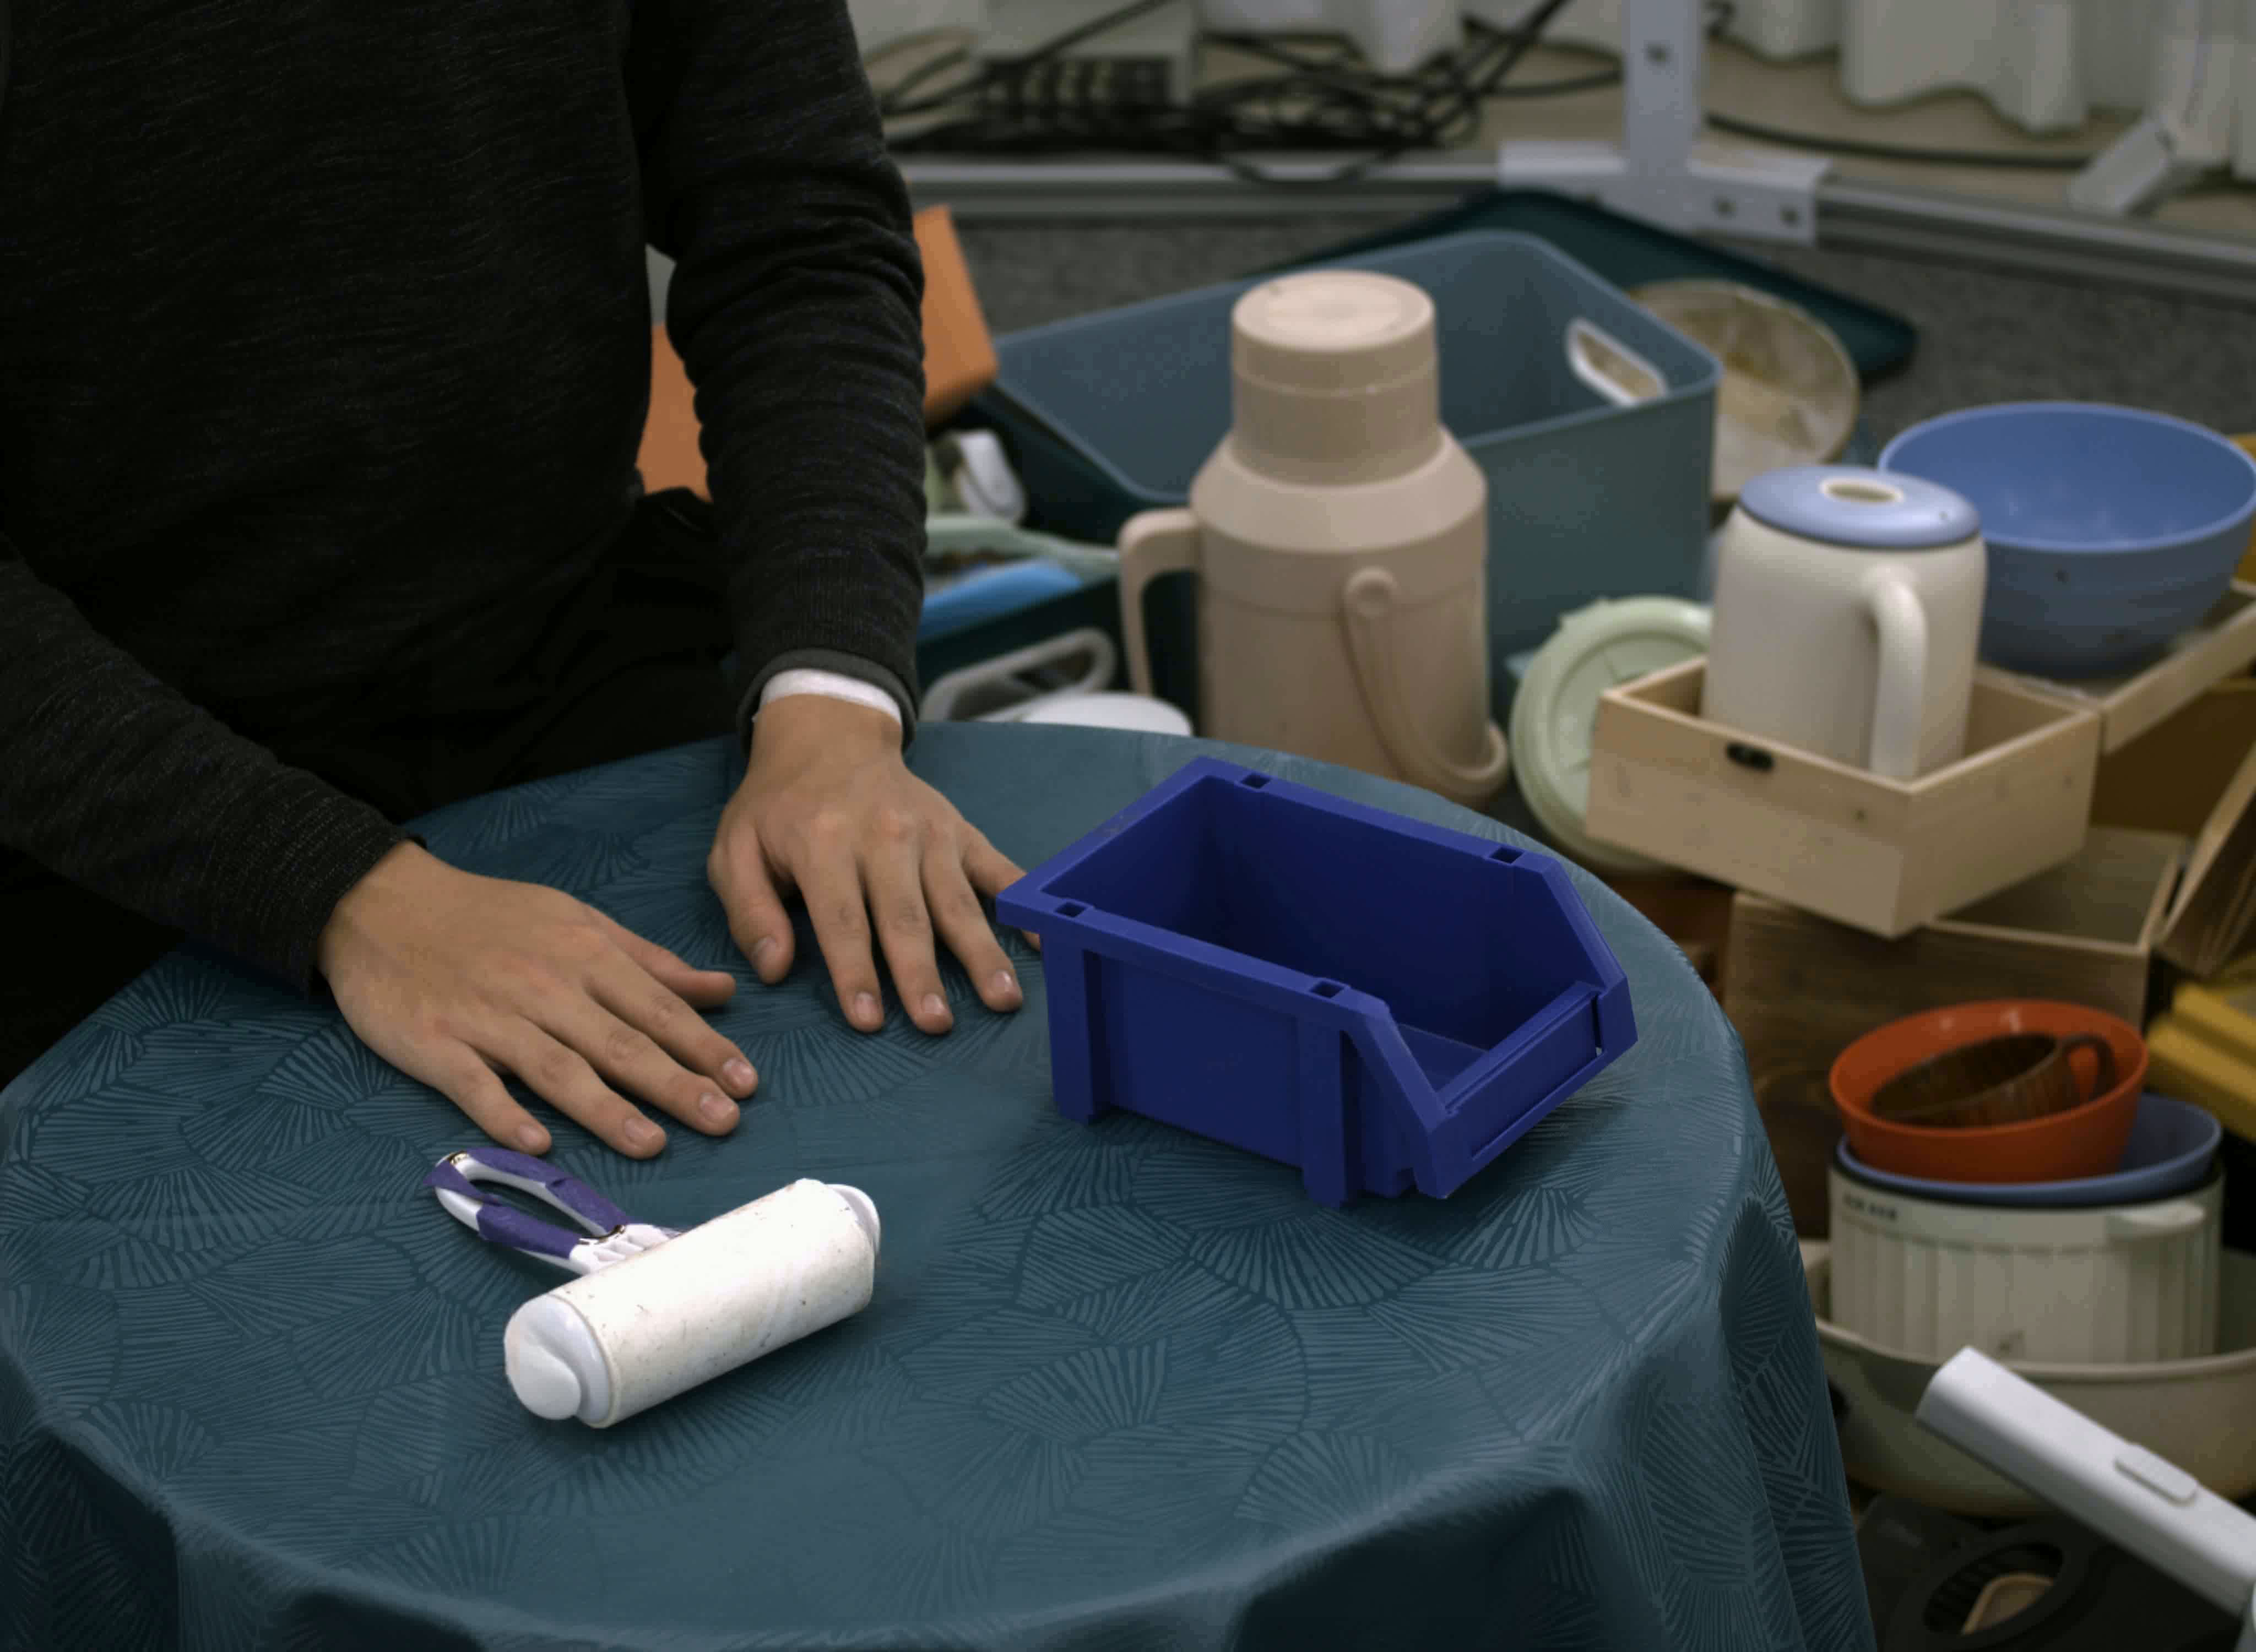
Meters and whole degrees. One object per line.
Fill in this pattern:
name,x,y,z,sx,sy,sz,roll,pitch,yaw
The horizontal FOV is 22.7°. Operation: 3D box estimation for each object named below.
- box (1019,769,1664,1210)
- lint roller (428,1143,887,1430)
box,0.073,0.056,1.892,0.178,0.081,0.126,14,31,35
lint roller,-0.173,0.127,1.816,0.134,0.049,0.181,-22,35,-30
